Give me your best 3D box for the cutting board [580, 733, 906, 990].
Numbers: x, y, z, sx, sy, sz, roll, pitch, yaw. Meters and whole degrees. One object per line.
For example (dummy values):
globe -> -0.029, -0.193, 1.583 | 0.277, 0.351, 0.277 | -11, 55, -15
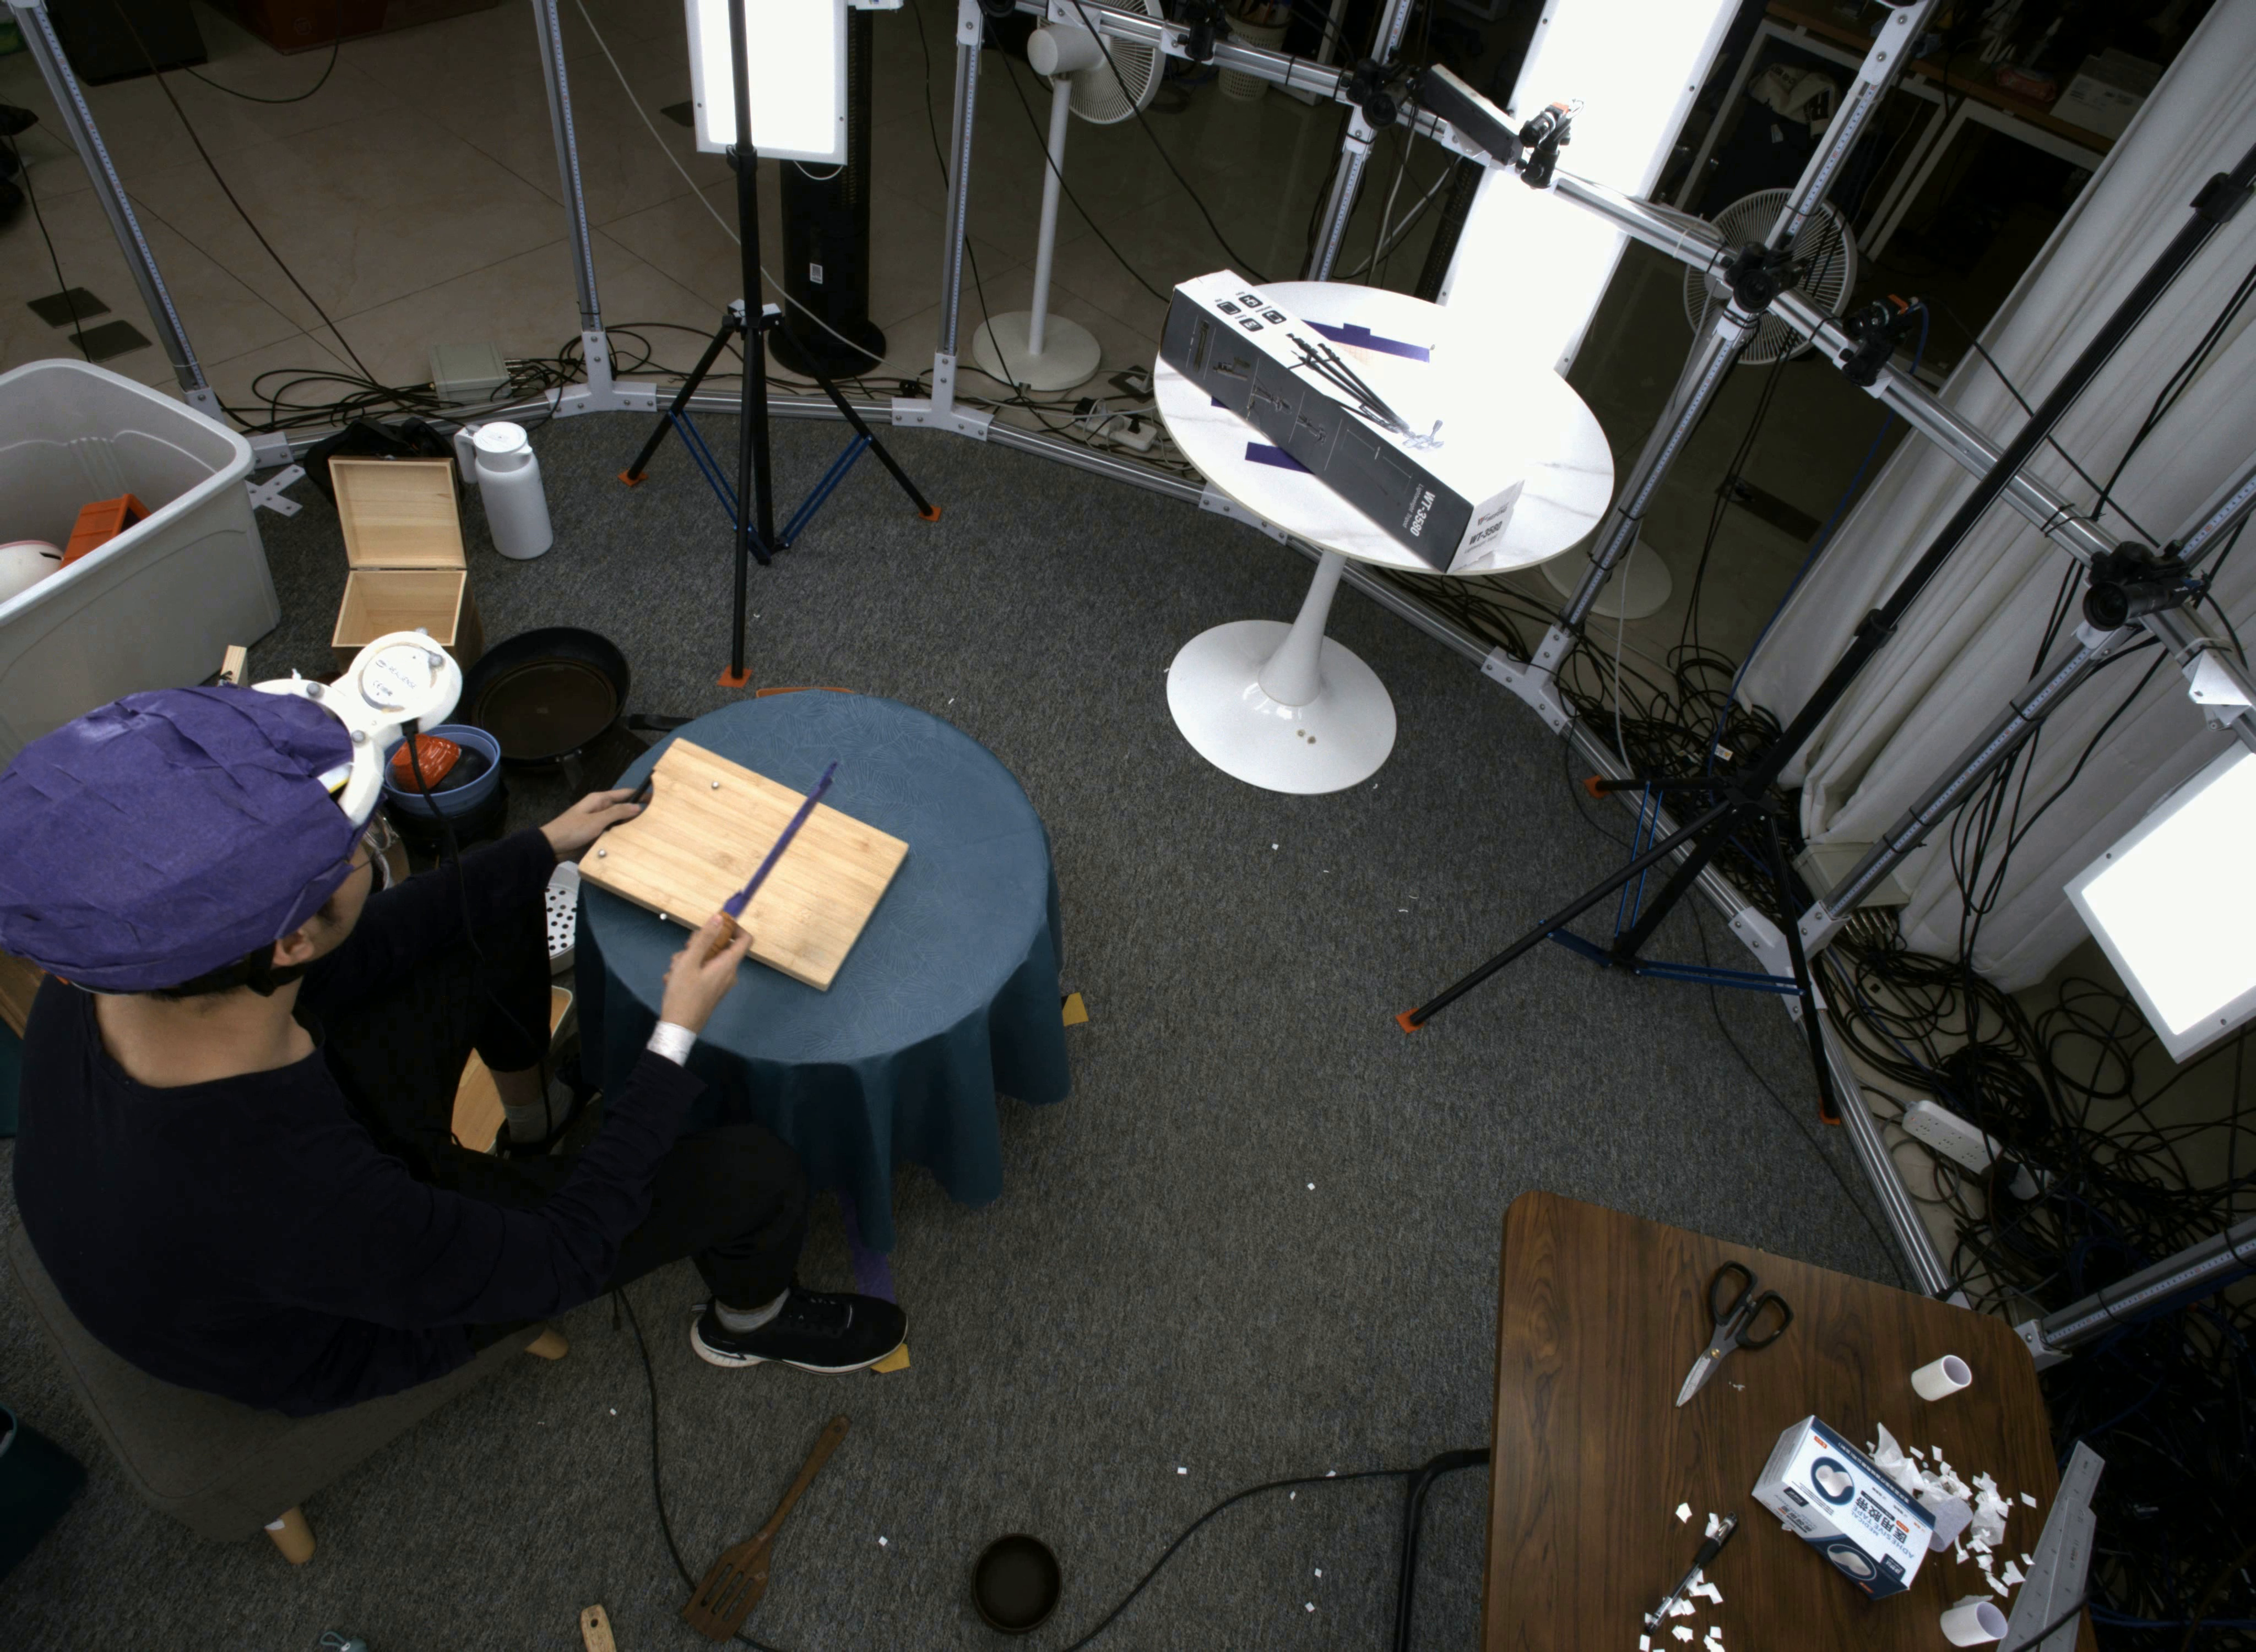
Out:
cutting board -> -0.489, 0.039, 1.653 | 0.348, 0.024, 0.248 | 24, 52, -4

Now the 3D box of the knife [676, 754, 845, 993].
knife -> -0.413, 0.057, 1.485 | 0.032, 0.104, 0.314 | 32, 68, -2
